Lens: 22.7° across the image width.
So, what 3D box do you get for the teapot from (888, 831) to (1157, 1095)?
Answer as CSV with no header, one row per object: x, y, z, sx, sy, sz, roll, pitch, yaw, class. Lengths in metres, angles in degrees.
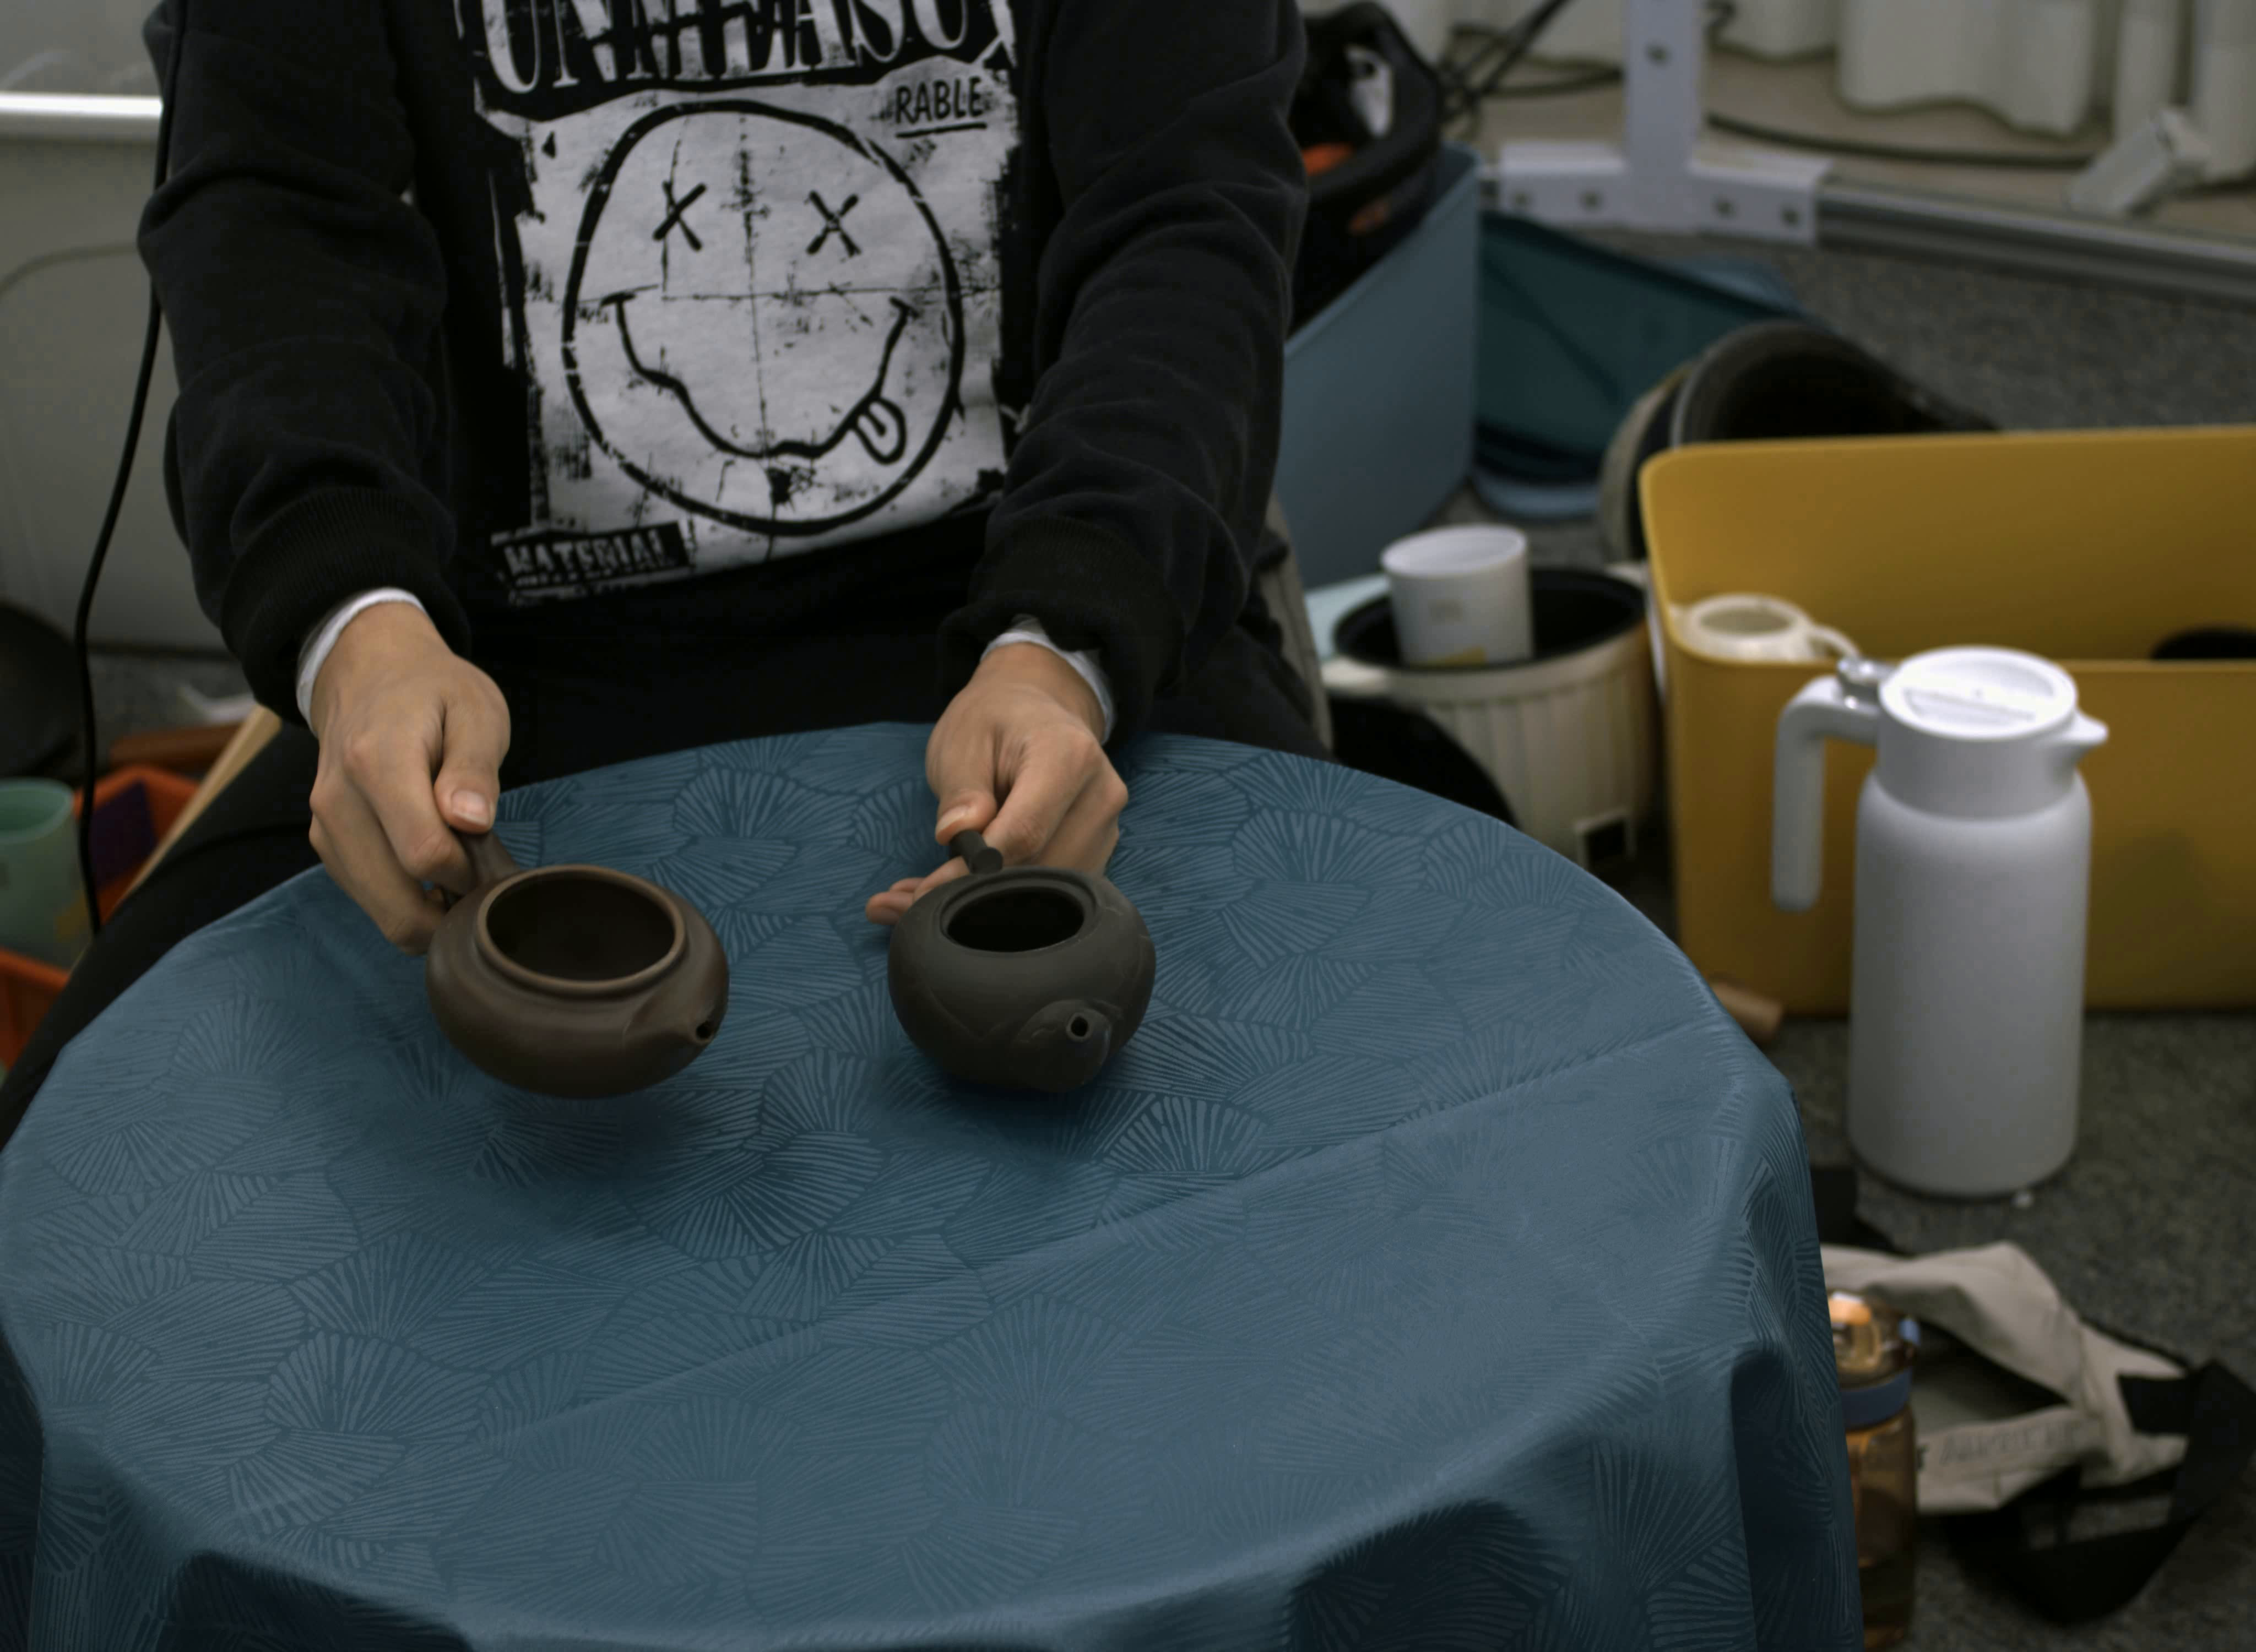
-0.037,0.051,1.930,0.092,0.063,0.156,-9,30,-14,teapot

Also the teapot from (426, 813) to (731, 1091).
-0.187,0.046,1.891,0.104,0.053,0.154,-22,45,-40,teapot
